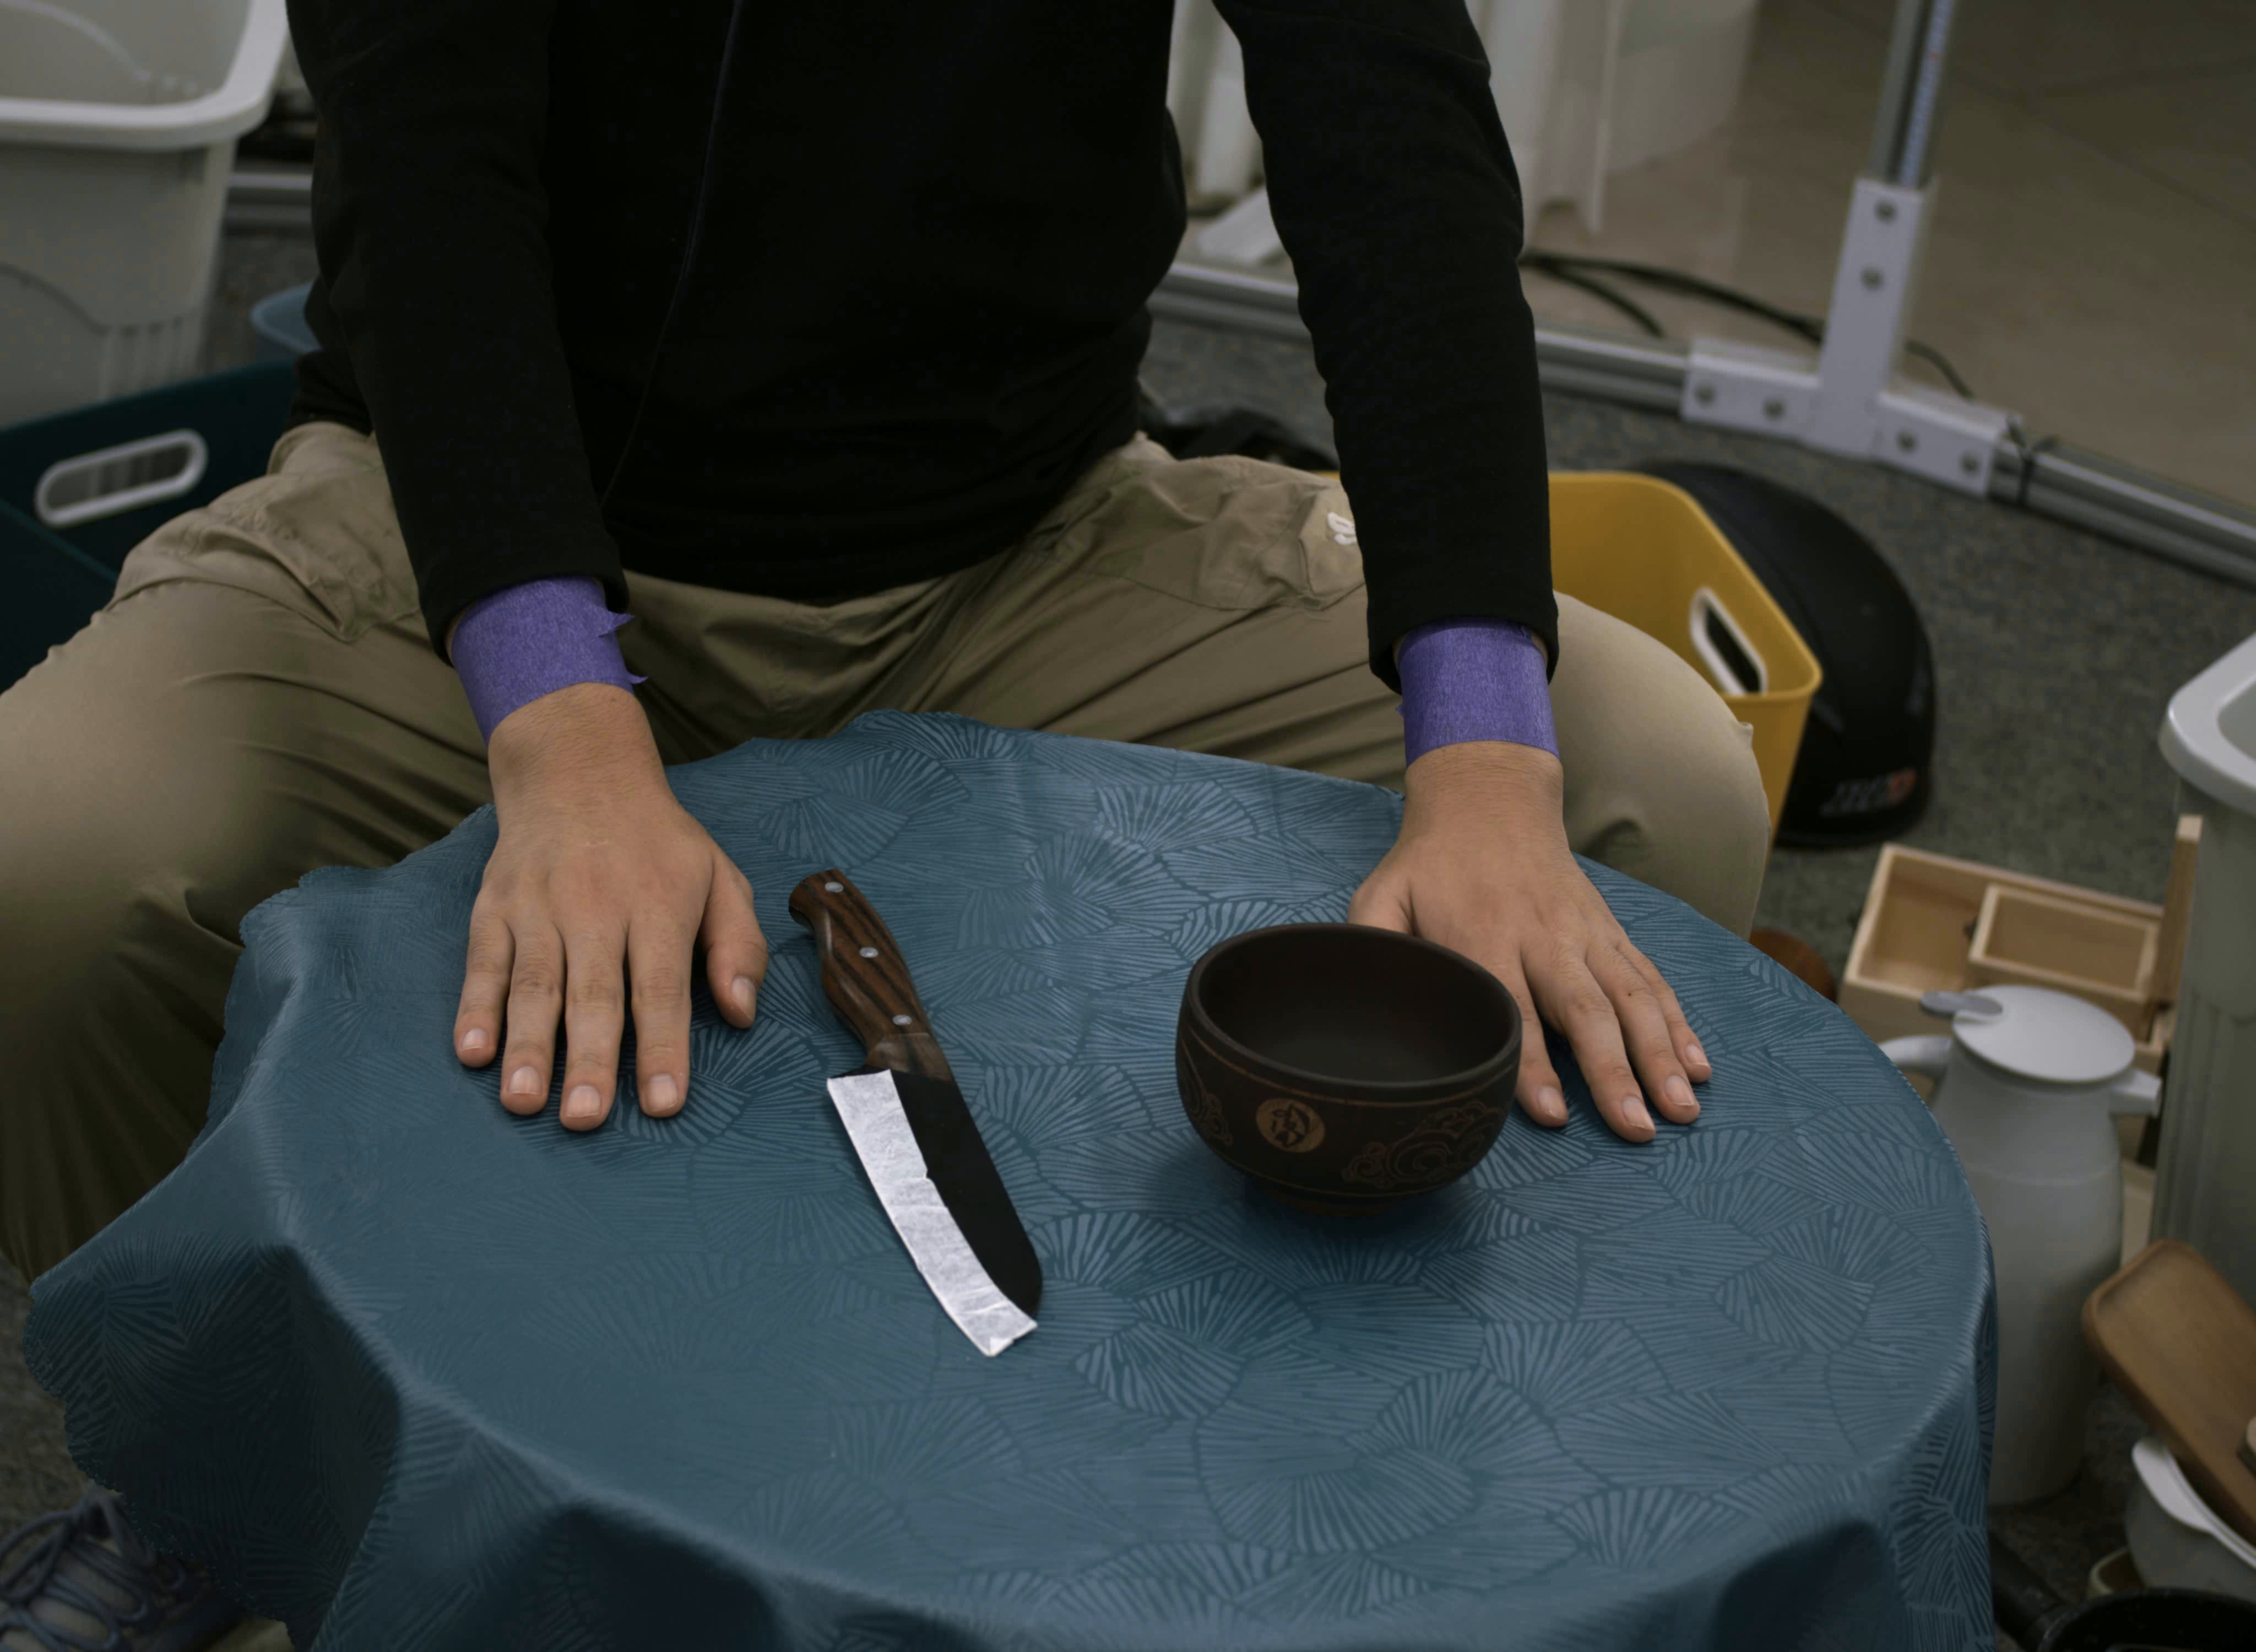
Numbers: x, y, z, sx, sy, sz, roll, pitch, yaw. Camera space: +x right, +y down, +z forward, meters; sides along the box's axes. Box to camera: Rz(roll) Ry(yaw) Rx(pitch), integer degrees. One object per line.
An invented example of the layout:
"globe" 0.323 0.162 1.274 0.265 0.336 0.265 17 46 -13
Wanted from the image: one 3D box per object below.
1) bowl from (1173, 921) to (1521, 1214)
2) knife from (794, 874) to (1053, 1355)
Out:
"bowl" 0.073 0.089 1.814 0.117 0.069 0.119 4 26 -2
"knife" -0.075 0.097 1.825 0.050 0.020 0.291 -6 31 -13
